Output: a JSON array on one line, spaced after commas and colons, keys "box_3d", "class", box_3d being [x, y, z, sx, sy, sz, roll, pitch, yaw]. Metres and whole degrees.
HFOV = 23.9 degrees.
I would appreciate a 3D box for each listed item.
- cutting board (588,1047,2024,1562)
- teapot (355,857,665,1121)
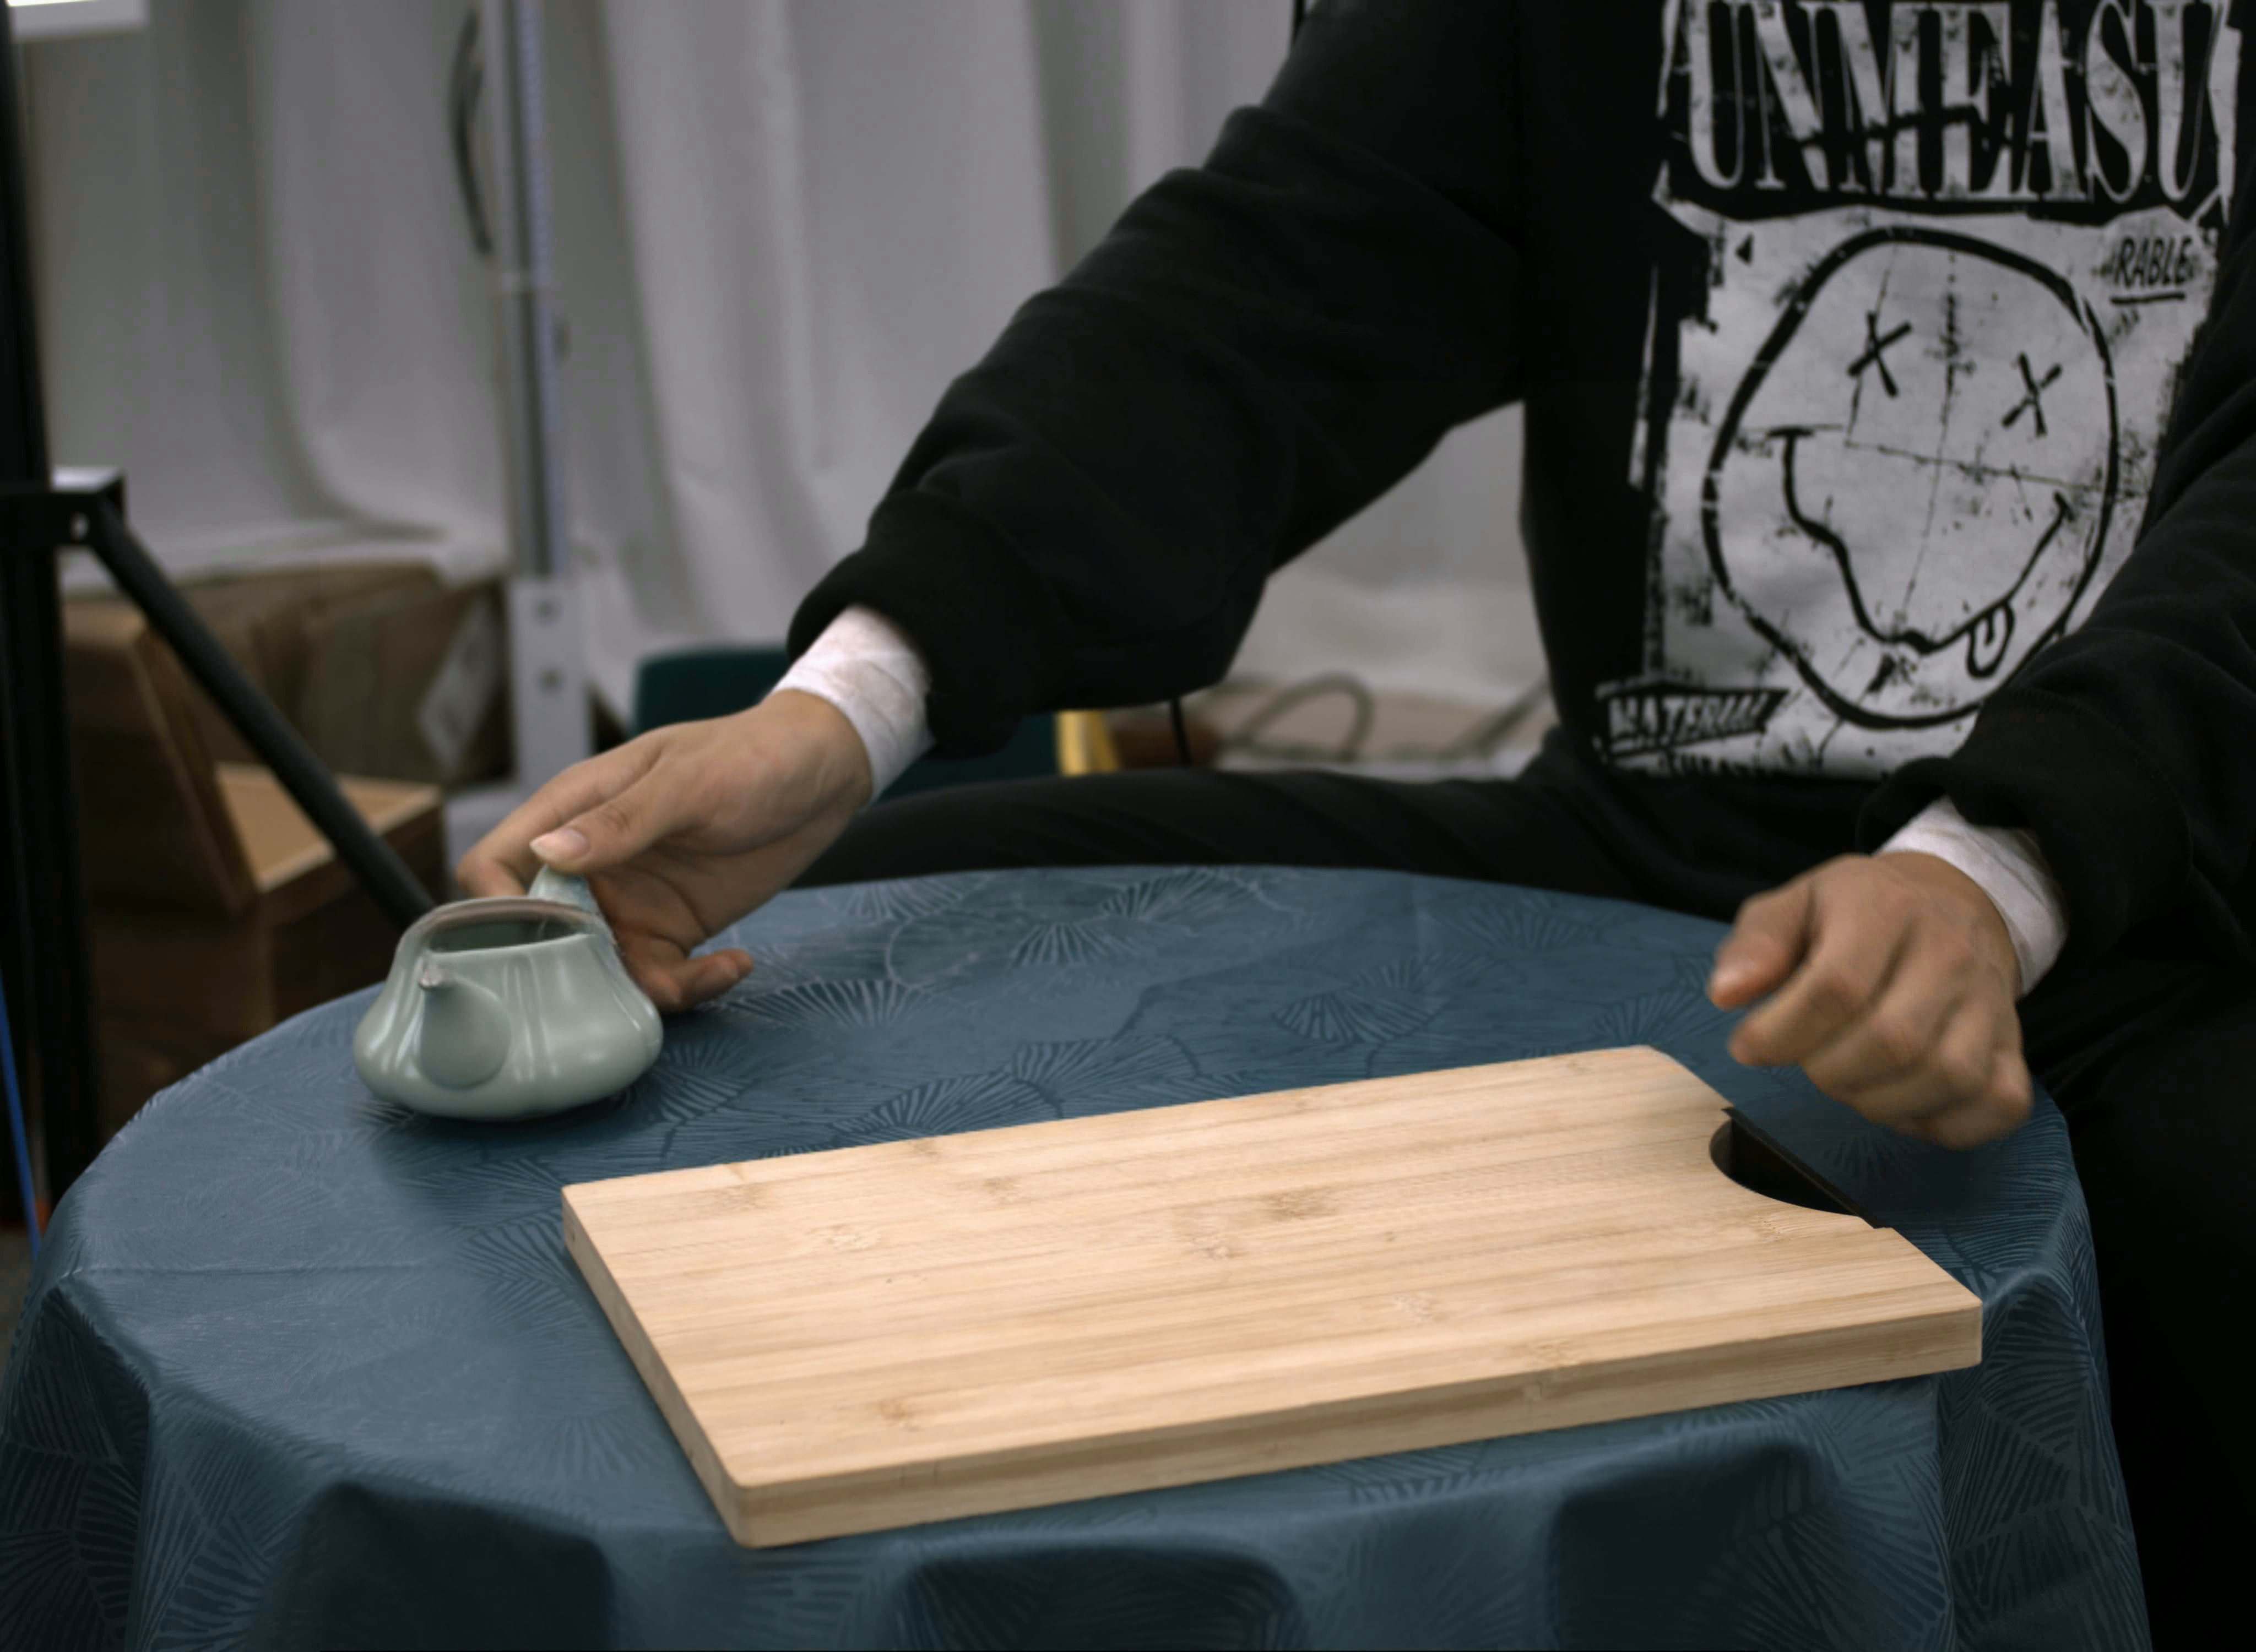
[{"box_3d": [0.038, 0.124, 1.462, 0.343, 0.023, 0.254, -7, 17, -15], "class": "cutting board"}, {"box_3d": [-0.193, 0.054, 1.667, 0.096, 0.061, 0.136, -1, 16, 12], "class": "teapot"}]
